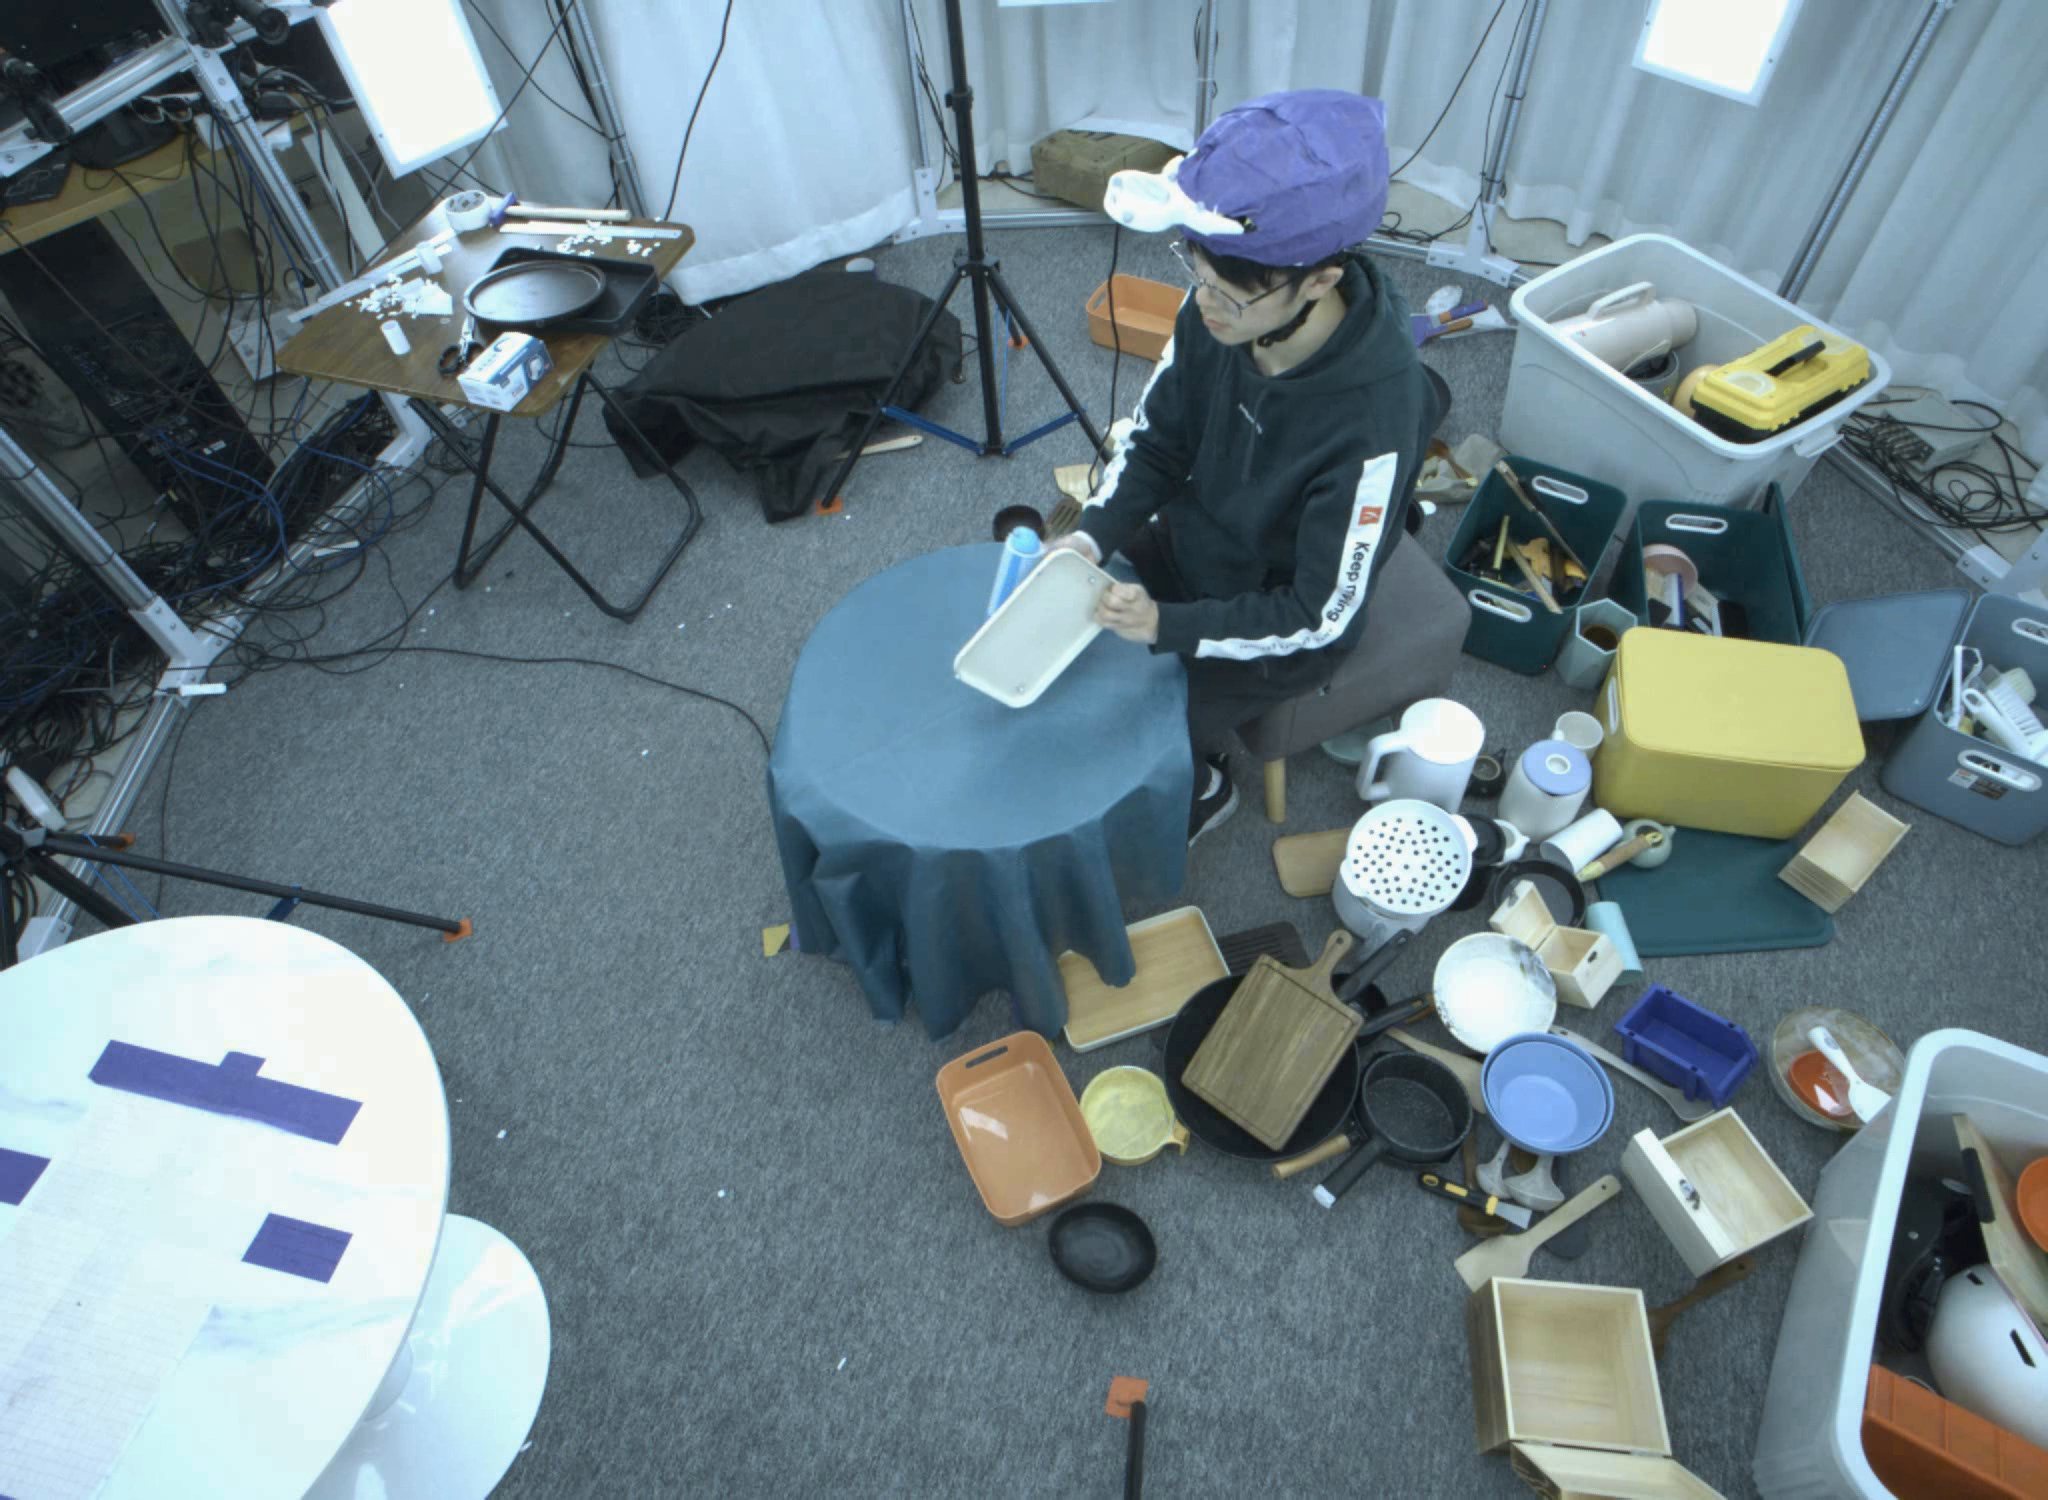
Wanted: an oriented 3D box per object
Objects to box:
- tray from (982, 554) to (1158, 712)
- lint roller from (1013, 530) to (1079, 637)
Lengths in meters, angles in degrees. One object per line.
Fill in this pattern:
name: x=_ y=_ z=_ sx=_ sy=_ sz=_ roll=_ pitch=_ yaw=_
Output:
tray: x=0.063 y=-0.159 z=1.690 sx=0.238 sy=0.175 sz=0.017 roll=-45 pitch=50 yaw=16
lint roller: x=0.059 y=-0.226 z=1.748 sx=0.067 sy=0.229 sz=0.182 roll=34 pitch=41 yaw=18
